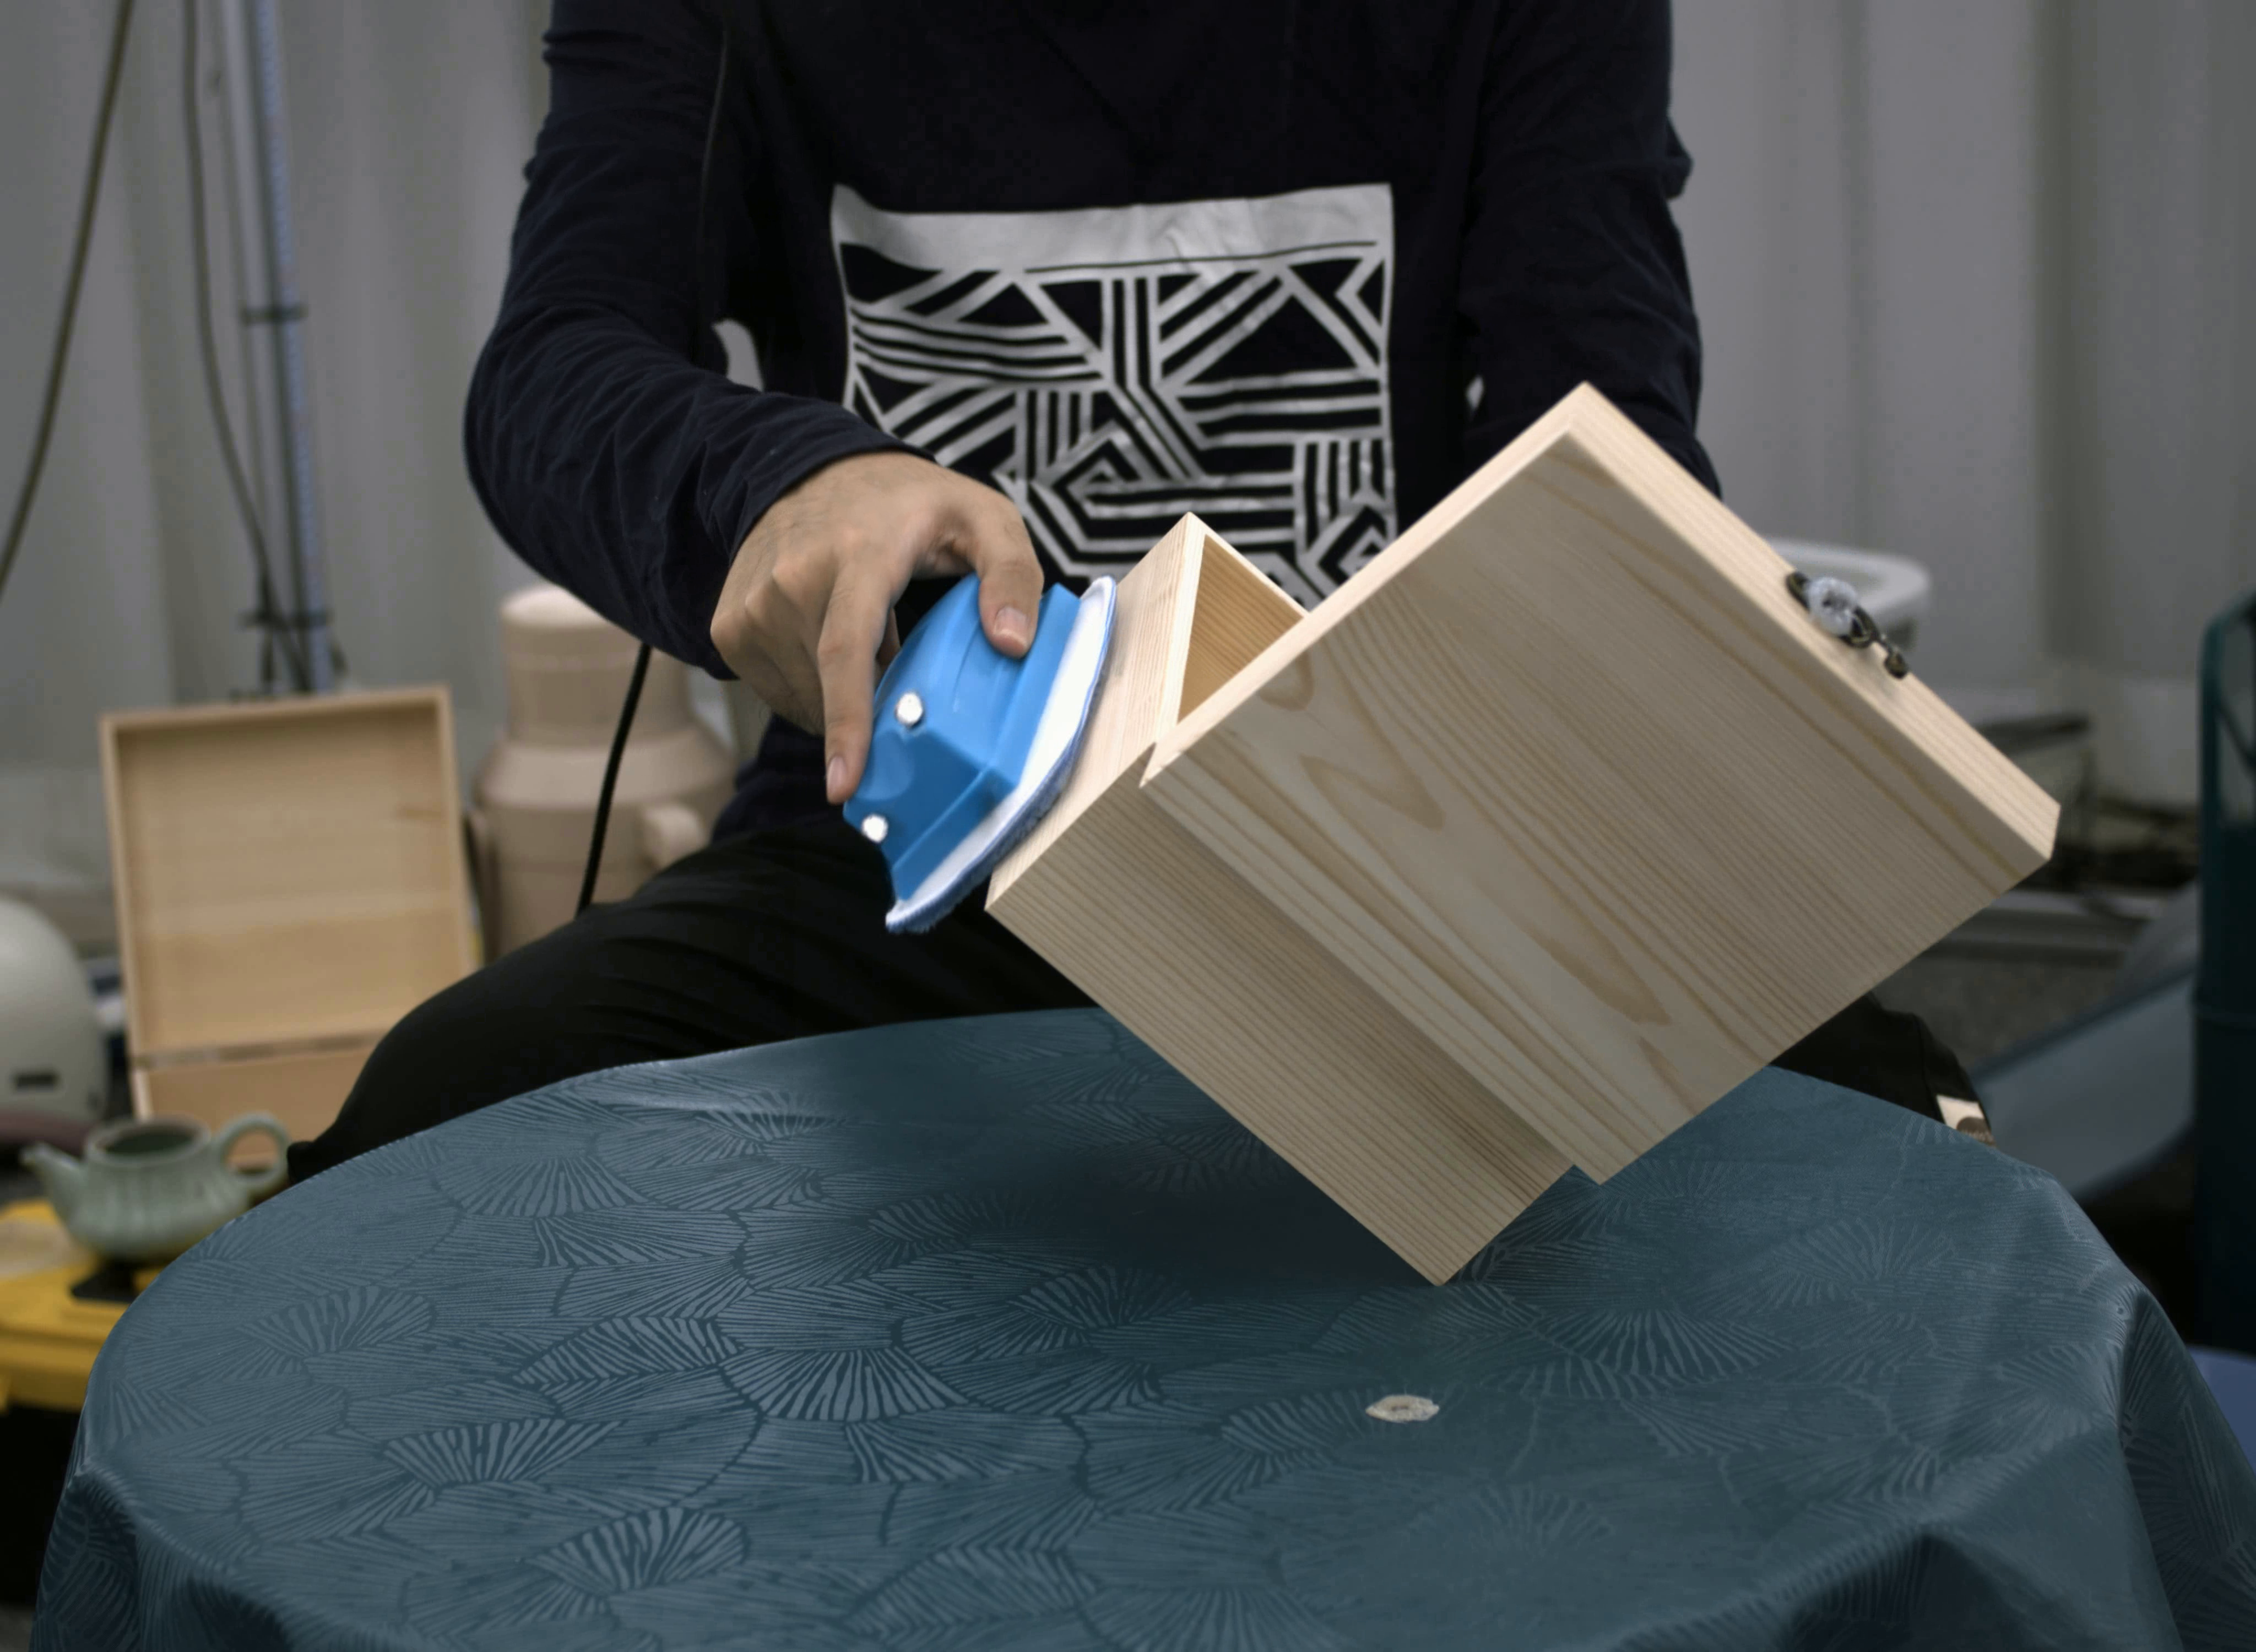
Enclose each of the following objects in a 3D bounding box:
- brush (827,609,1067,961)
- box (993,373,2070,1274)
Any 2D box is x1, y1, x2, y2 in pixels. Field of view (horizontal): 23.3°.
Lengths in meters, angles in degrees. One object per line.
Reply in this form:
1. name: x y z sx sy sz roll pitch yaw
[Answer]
1. brush: -0.063 -0.018 1.663 0.083 0.055 0.145 -37 19 17
2. box: 0.112 -0.029 1.607 0.180 0.252 0.268 40 21 -14
